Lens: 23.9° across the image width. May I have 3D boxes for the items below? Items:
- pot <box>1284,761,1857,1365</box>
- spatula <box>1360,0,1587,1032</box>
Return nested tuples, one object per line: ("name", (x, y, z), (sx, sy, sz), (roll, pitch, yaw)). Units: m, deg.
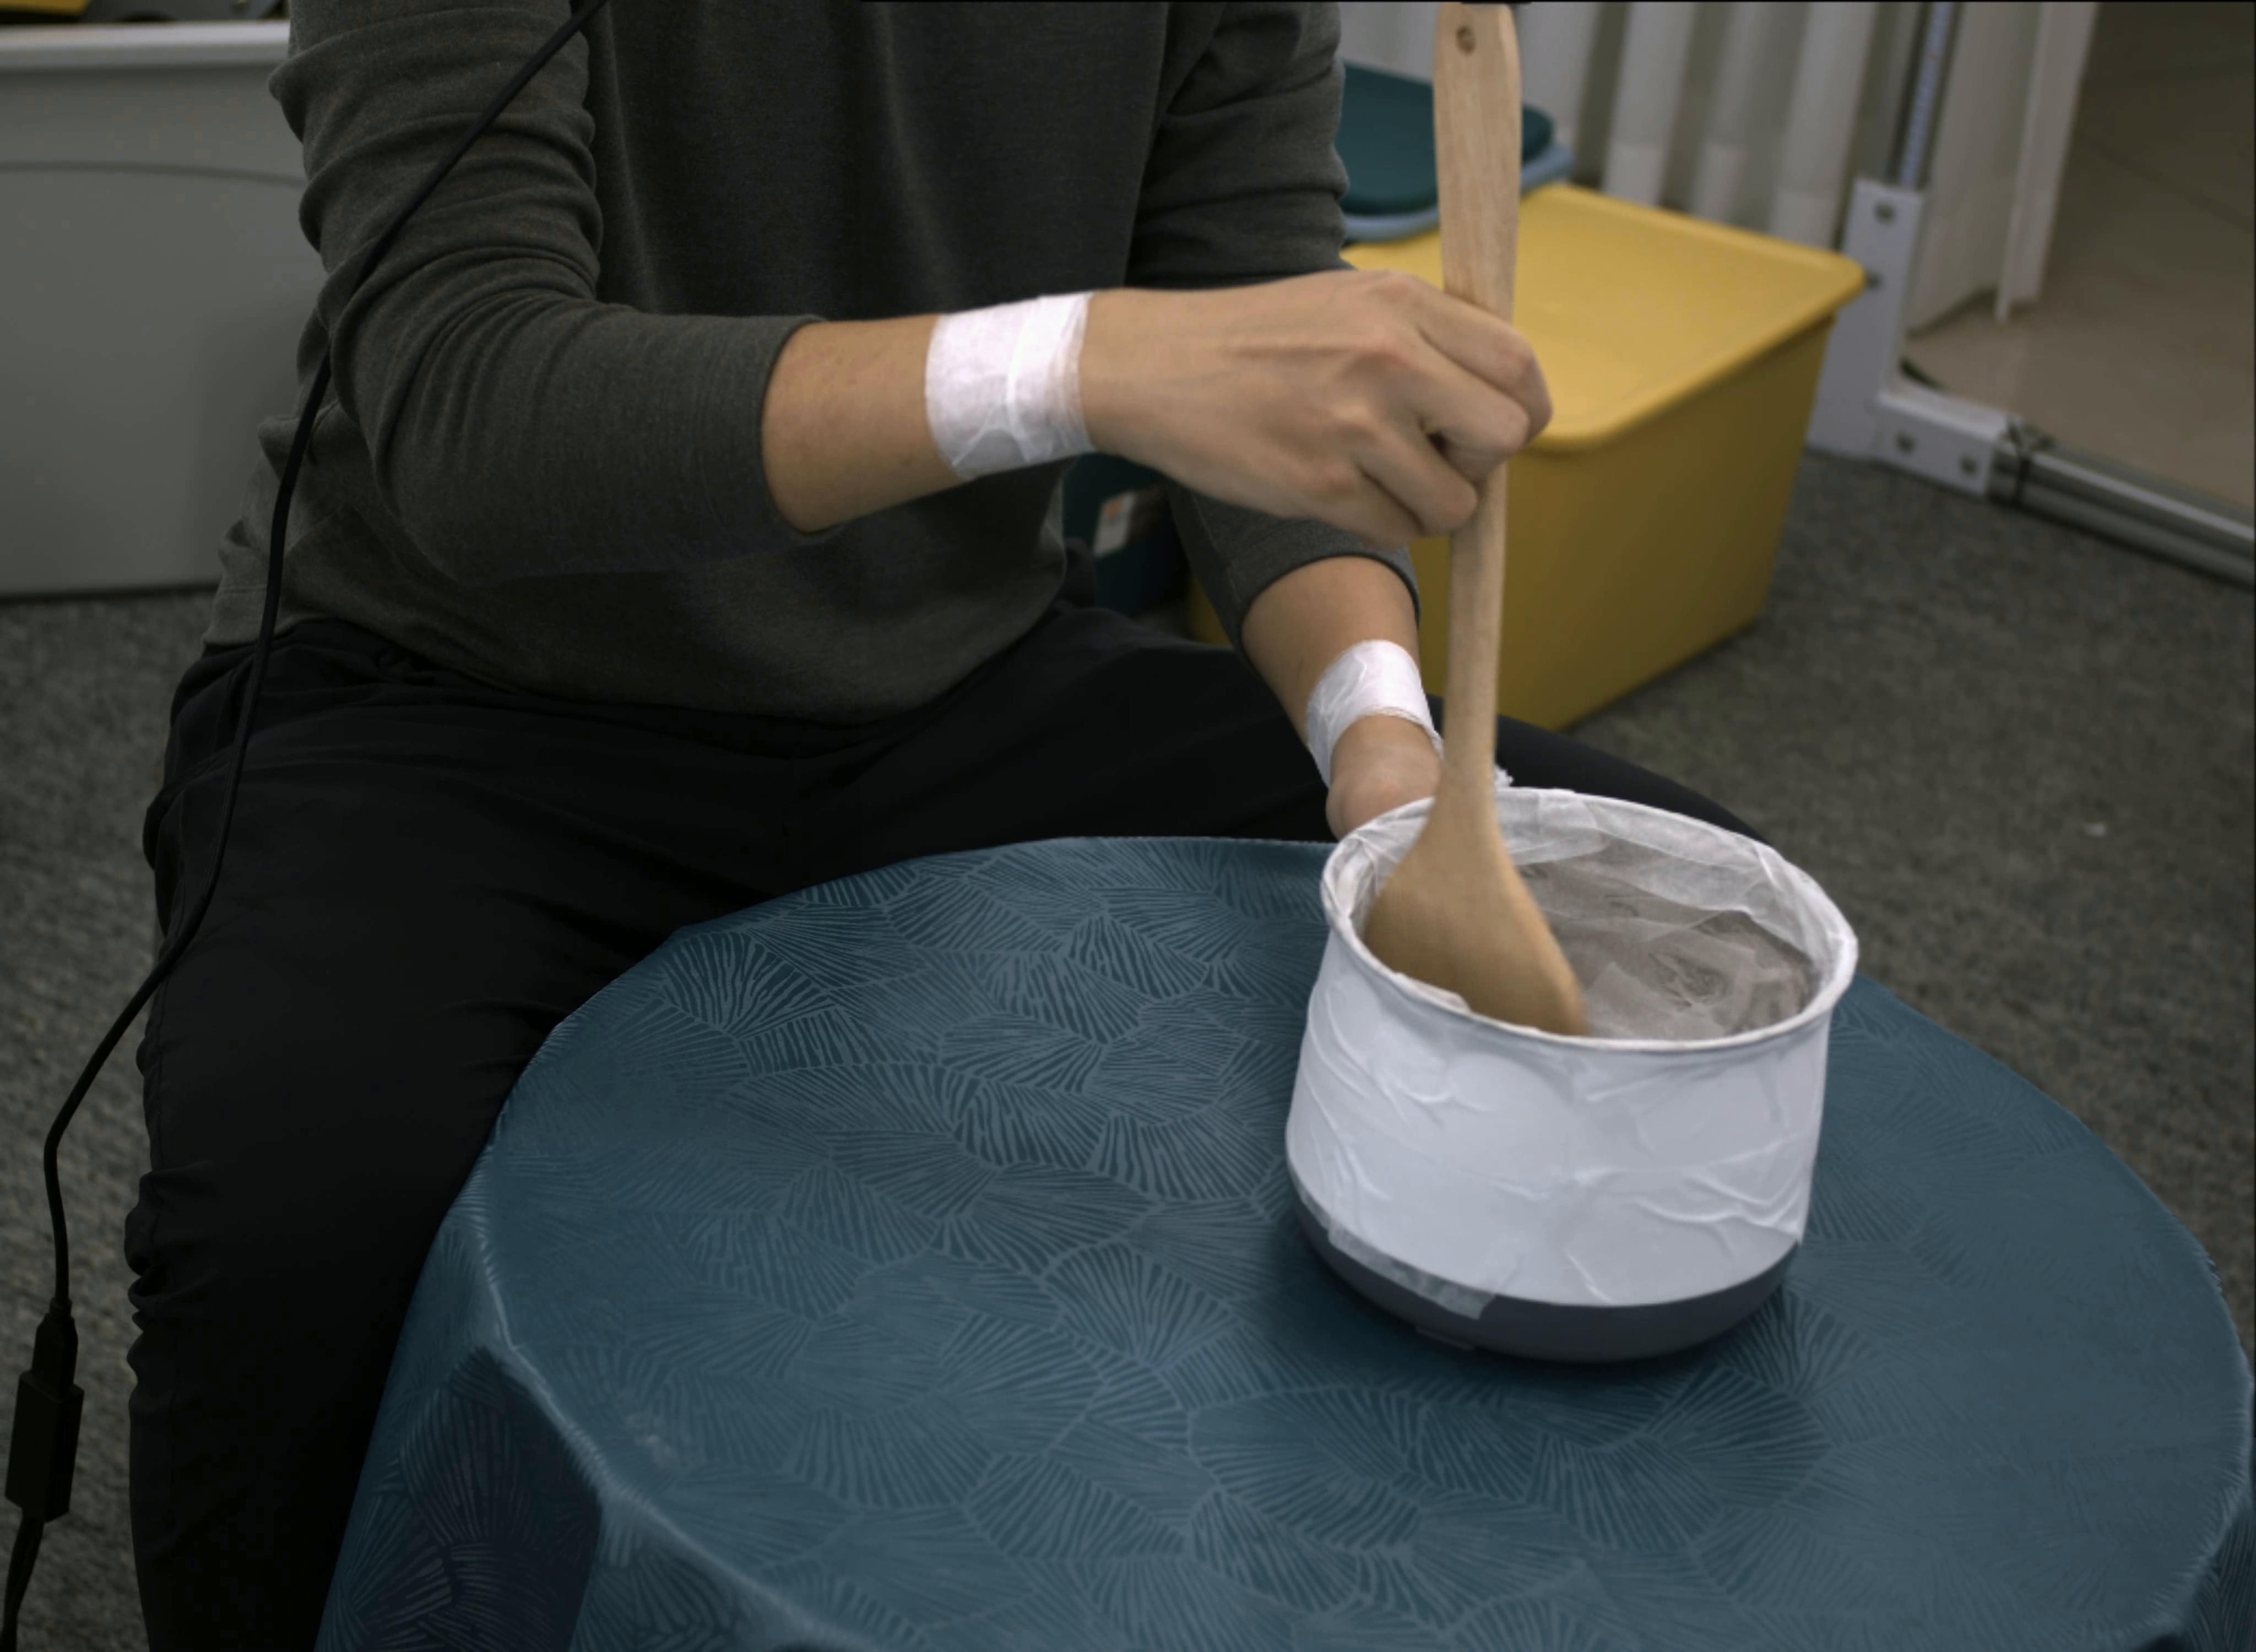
("pot", (0.135, 0.072, 1.788), (0.177, 0.136, 0.236), (-2, 28, -18))
("spatula", (0.112, -0.081, 1.691), (0.096, 0.390, 0.018), (18, 26, 40))
